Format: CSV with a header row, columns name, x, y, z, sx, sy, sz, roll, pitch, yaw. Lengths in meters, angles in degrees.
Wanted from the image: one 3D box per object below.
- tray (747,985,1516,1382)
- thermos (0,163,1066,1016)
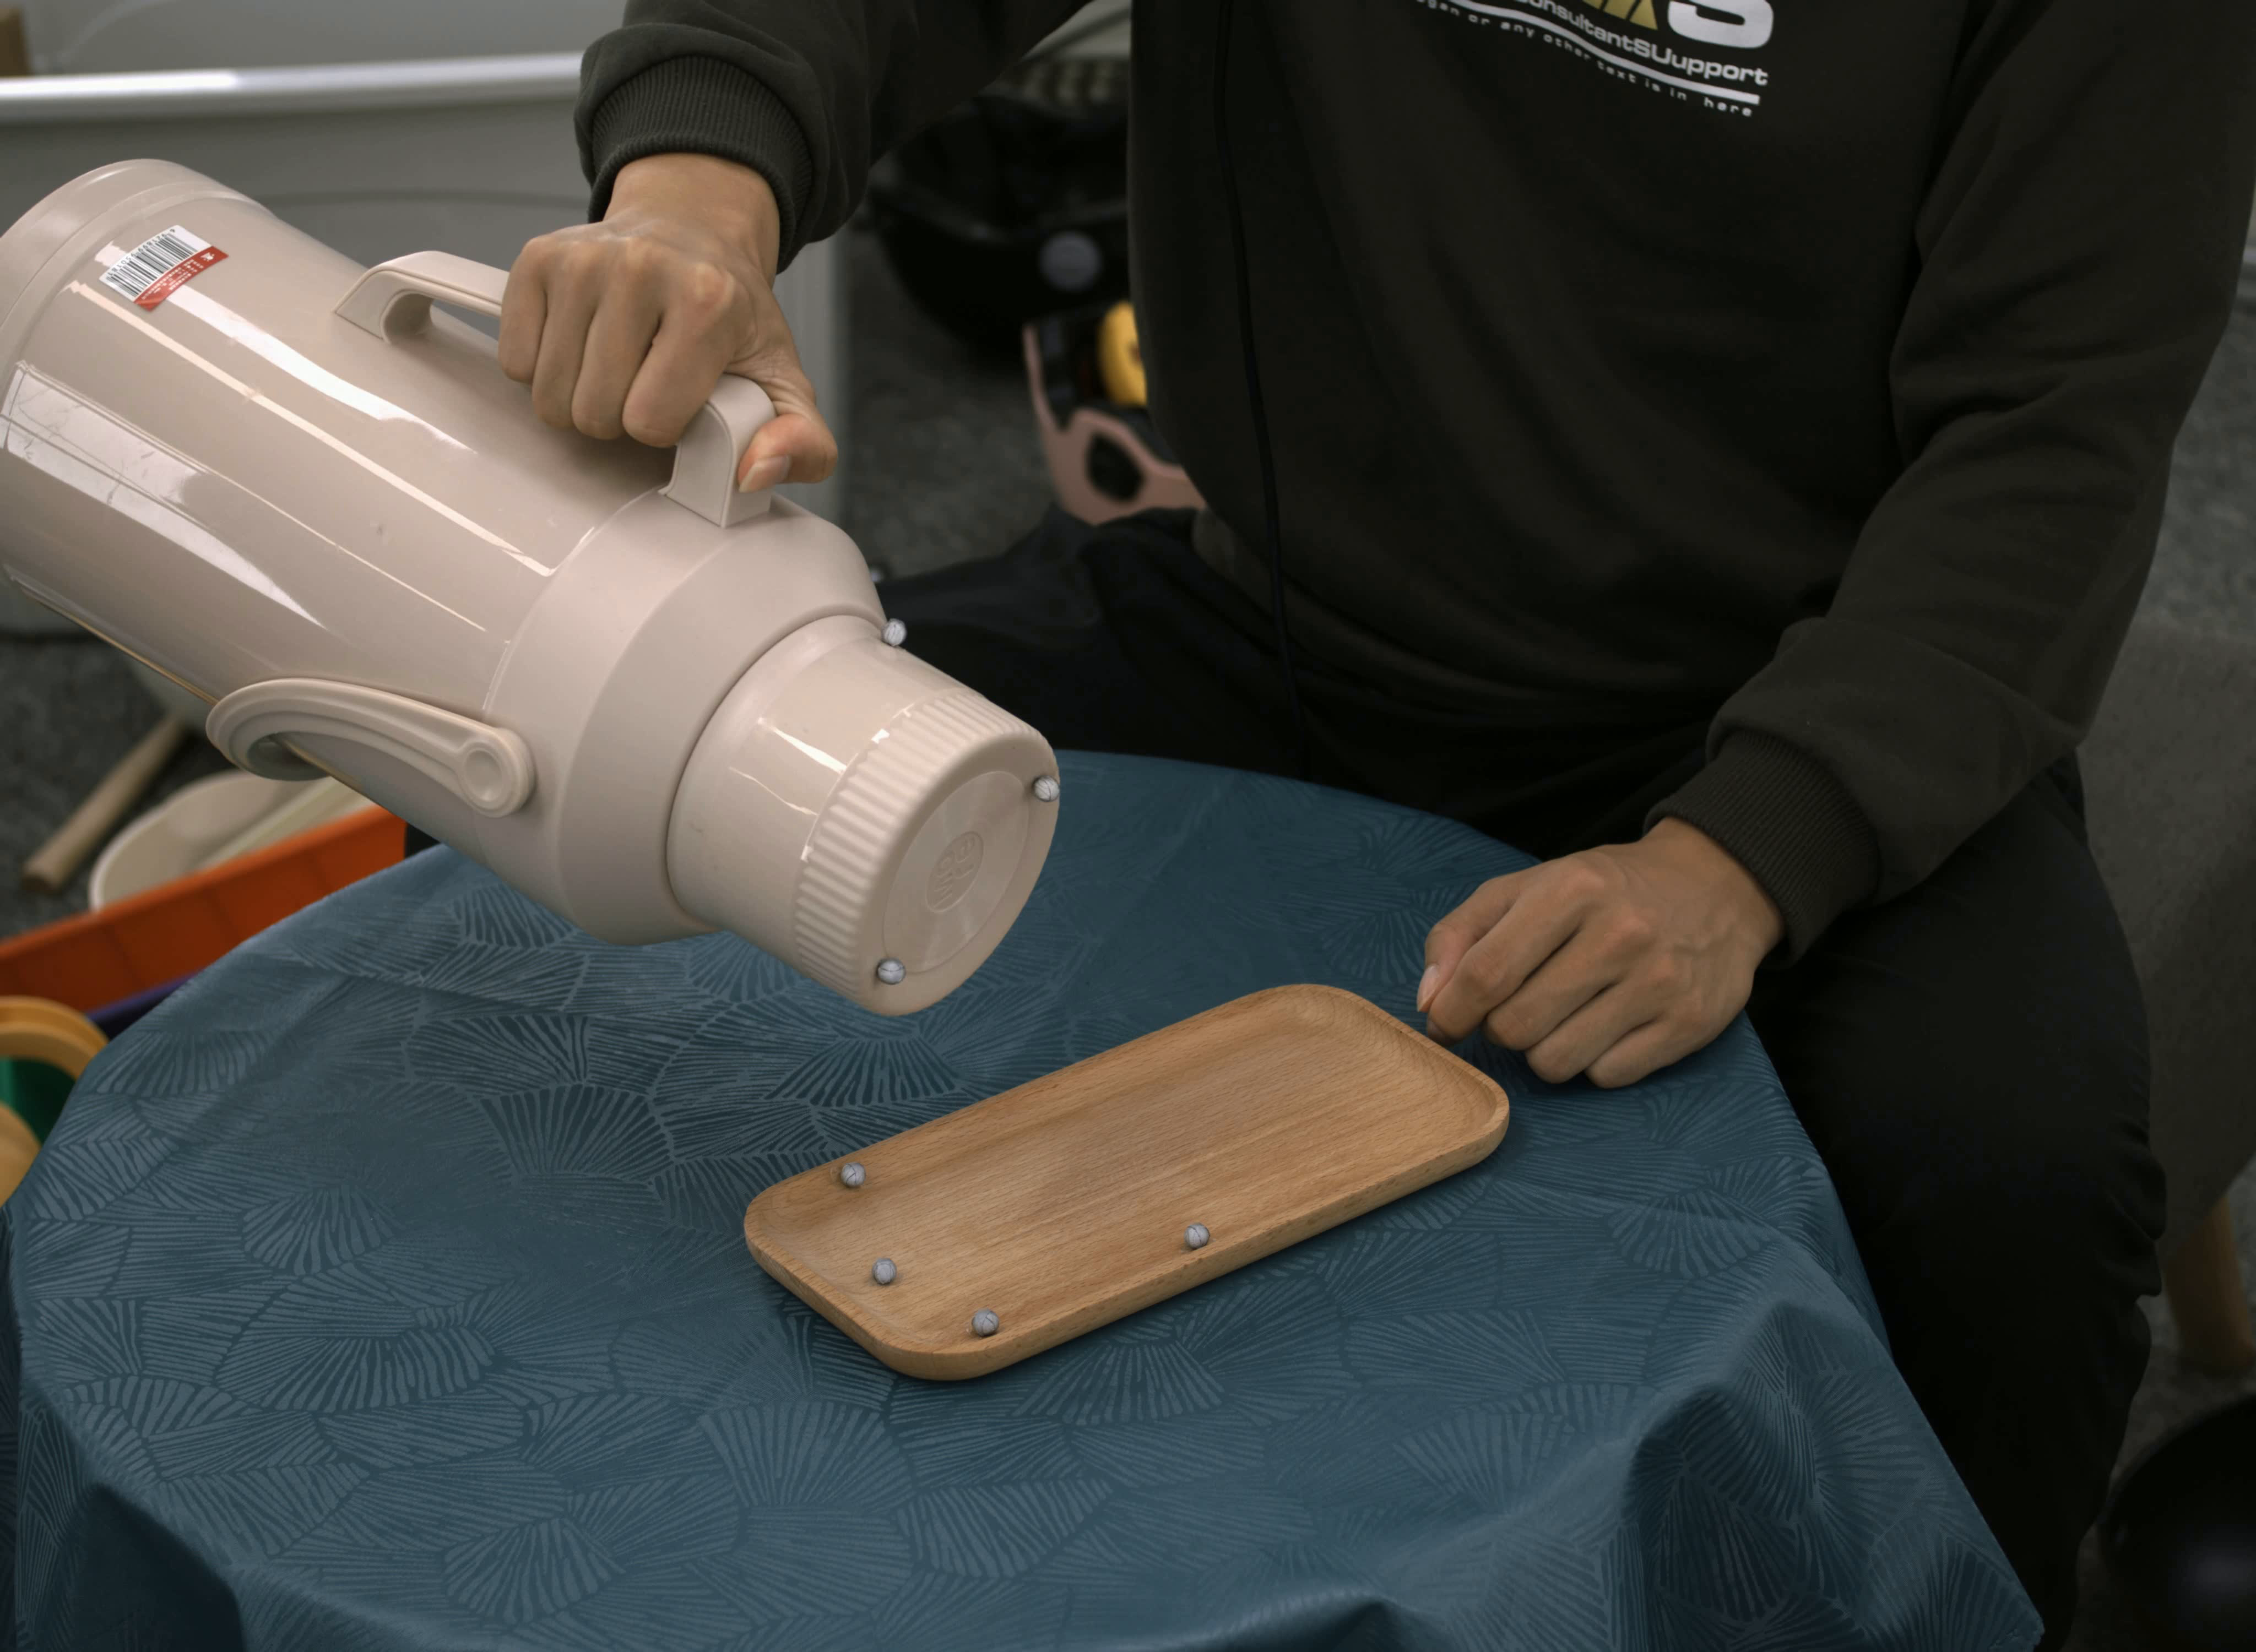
name,x,y,z,sx,sy,sz,roll,pitch,yaw
tray,0.002,0.116,1.858,0.253,0.022,0.131,-19,34,-30
thermos,-0.203,-0.085,1.874,0.406,0.204,0.177,30,33,29
